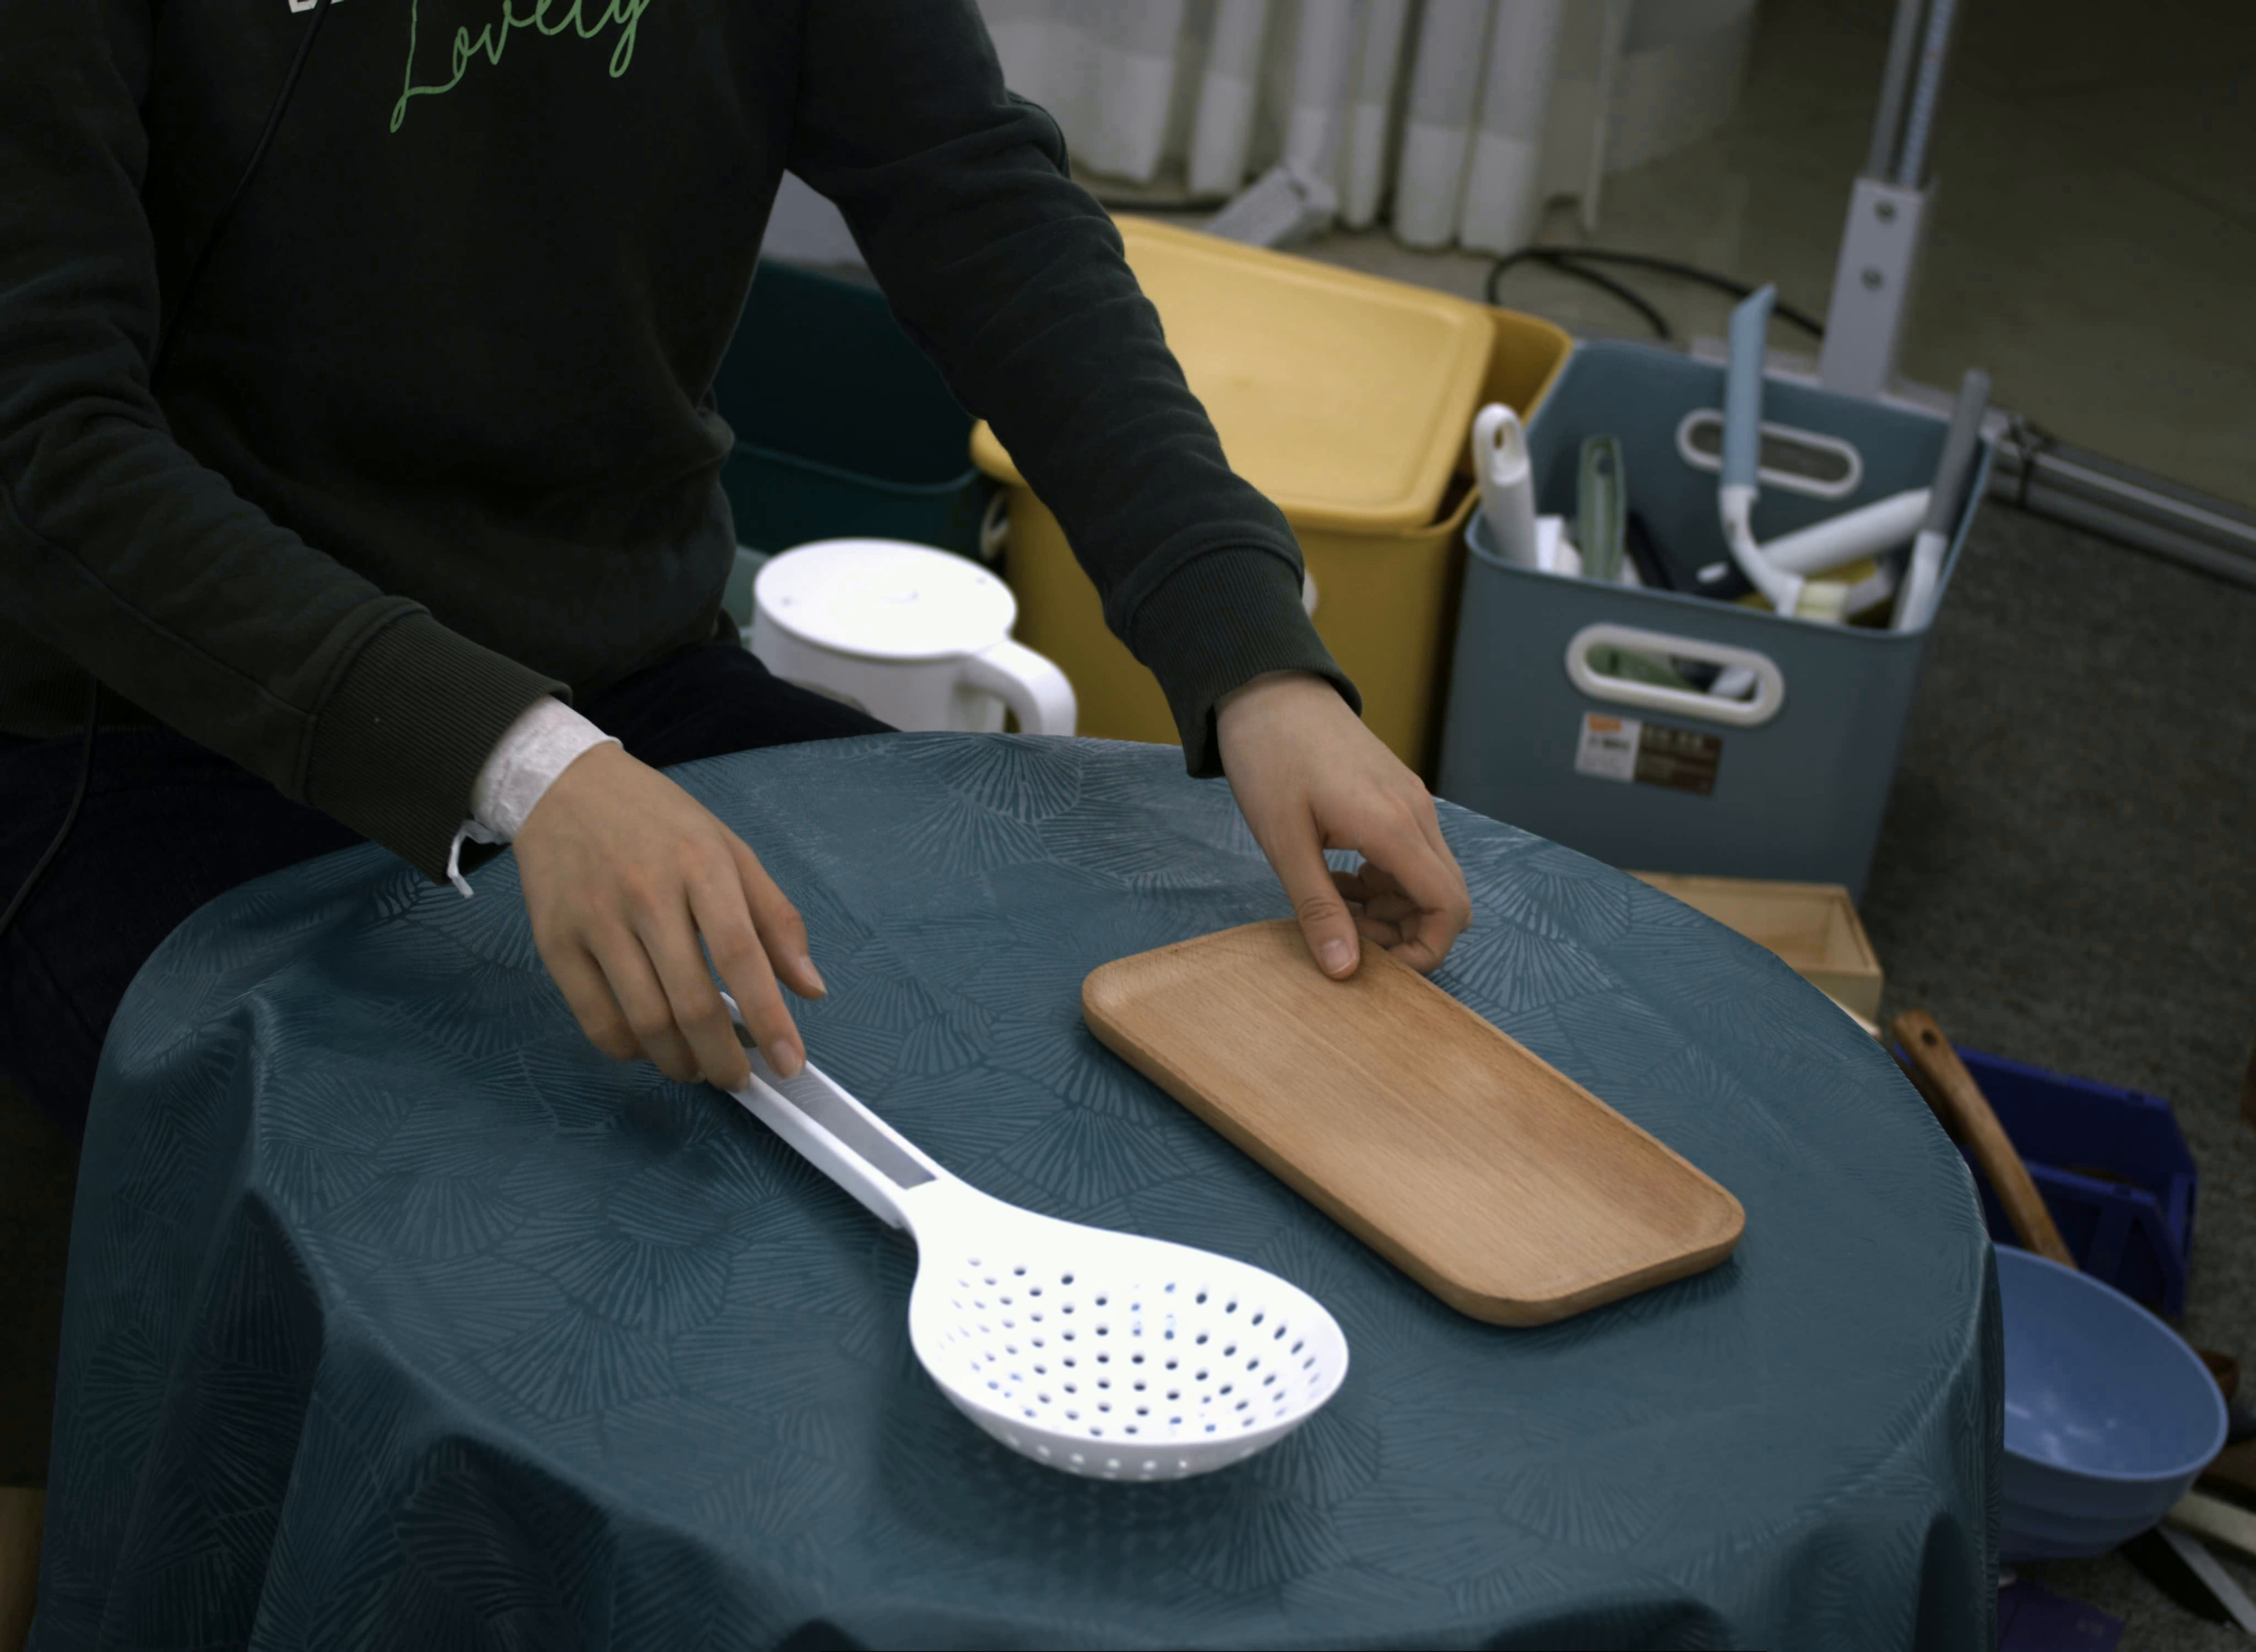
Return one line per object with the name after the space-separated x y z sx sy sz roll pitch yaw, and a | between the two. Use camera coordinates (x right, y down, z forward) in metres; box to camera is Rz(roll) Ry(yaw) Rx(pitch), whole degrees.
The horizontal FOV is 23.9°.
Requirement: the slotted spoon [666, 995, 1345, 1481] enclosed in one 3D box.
-0.059 0.127 1.729 0.135 0.045 0.353 -8 29 -32 | slotted spoon

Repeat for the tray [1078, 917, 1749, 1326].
0.096 0.100 1.850 0.130 0.023 0.253 -12 31 -35 | tray
